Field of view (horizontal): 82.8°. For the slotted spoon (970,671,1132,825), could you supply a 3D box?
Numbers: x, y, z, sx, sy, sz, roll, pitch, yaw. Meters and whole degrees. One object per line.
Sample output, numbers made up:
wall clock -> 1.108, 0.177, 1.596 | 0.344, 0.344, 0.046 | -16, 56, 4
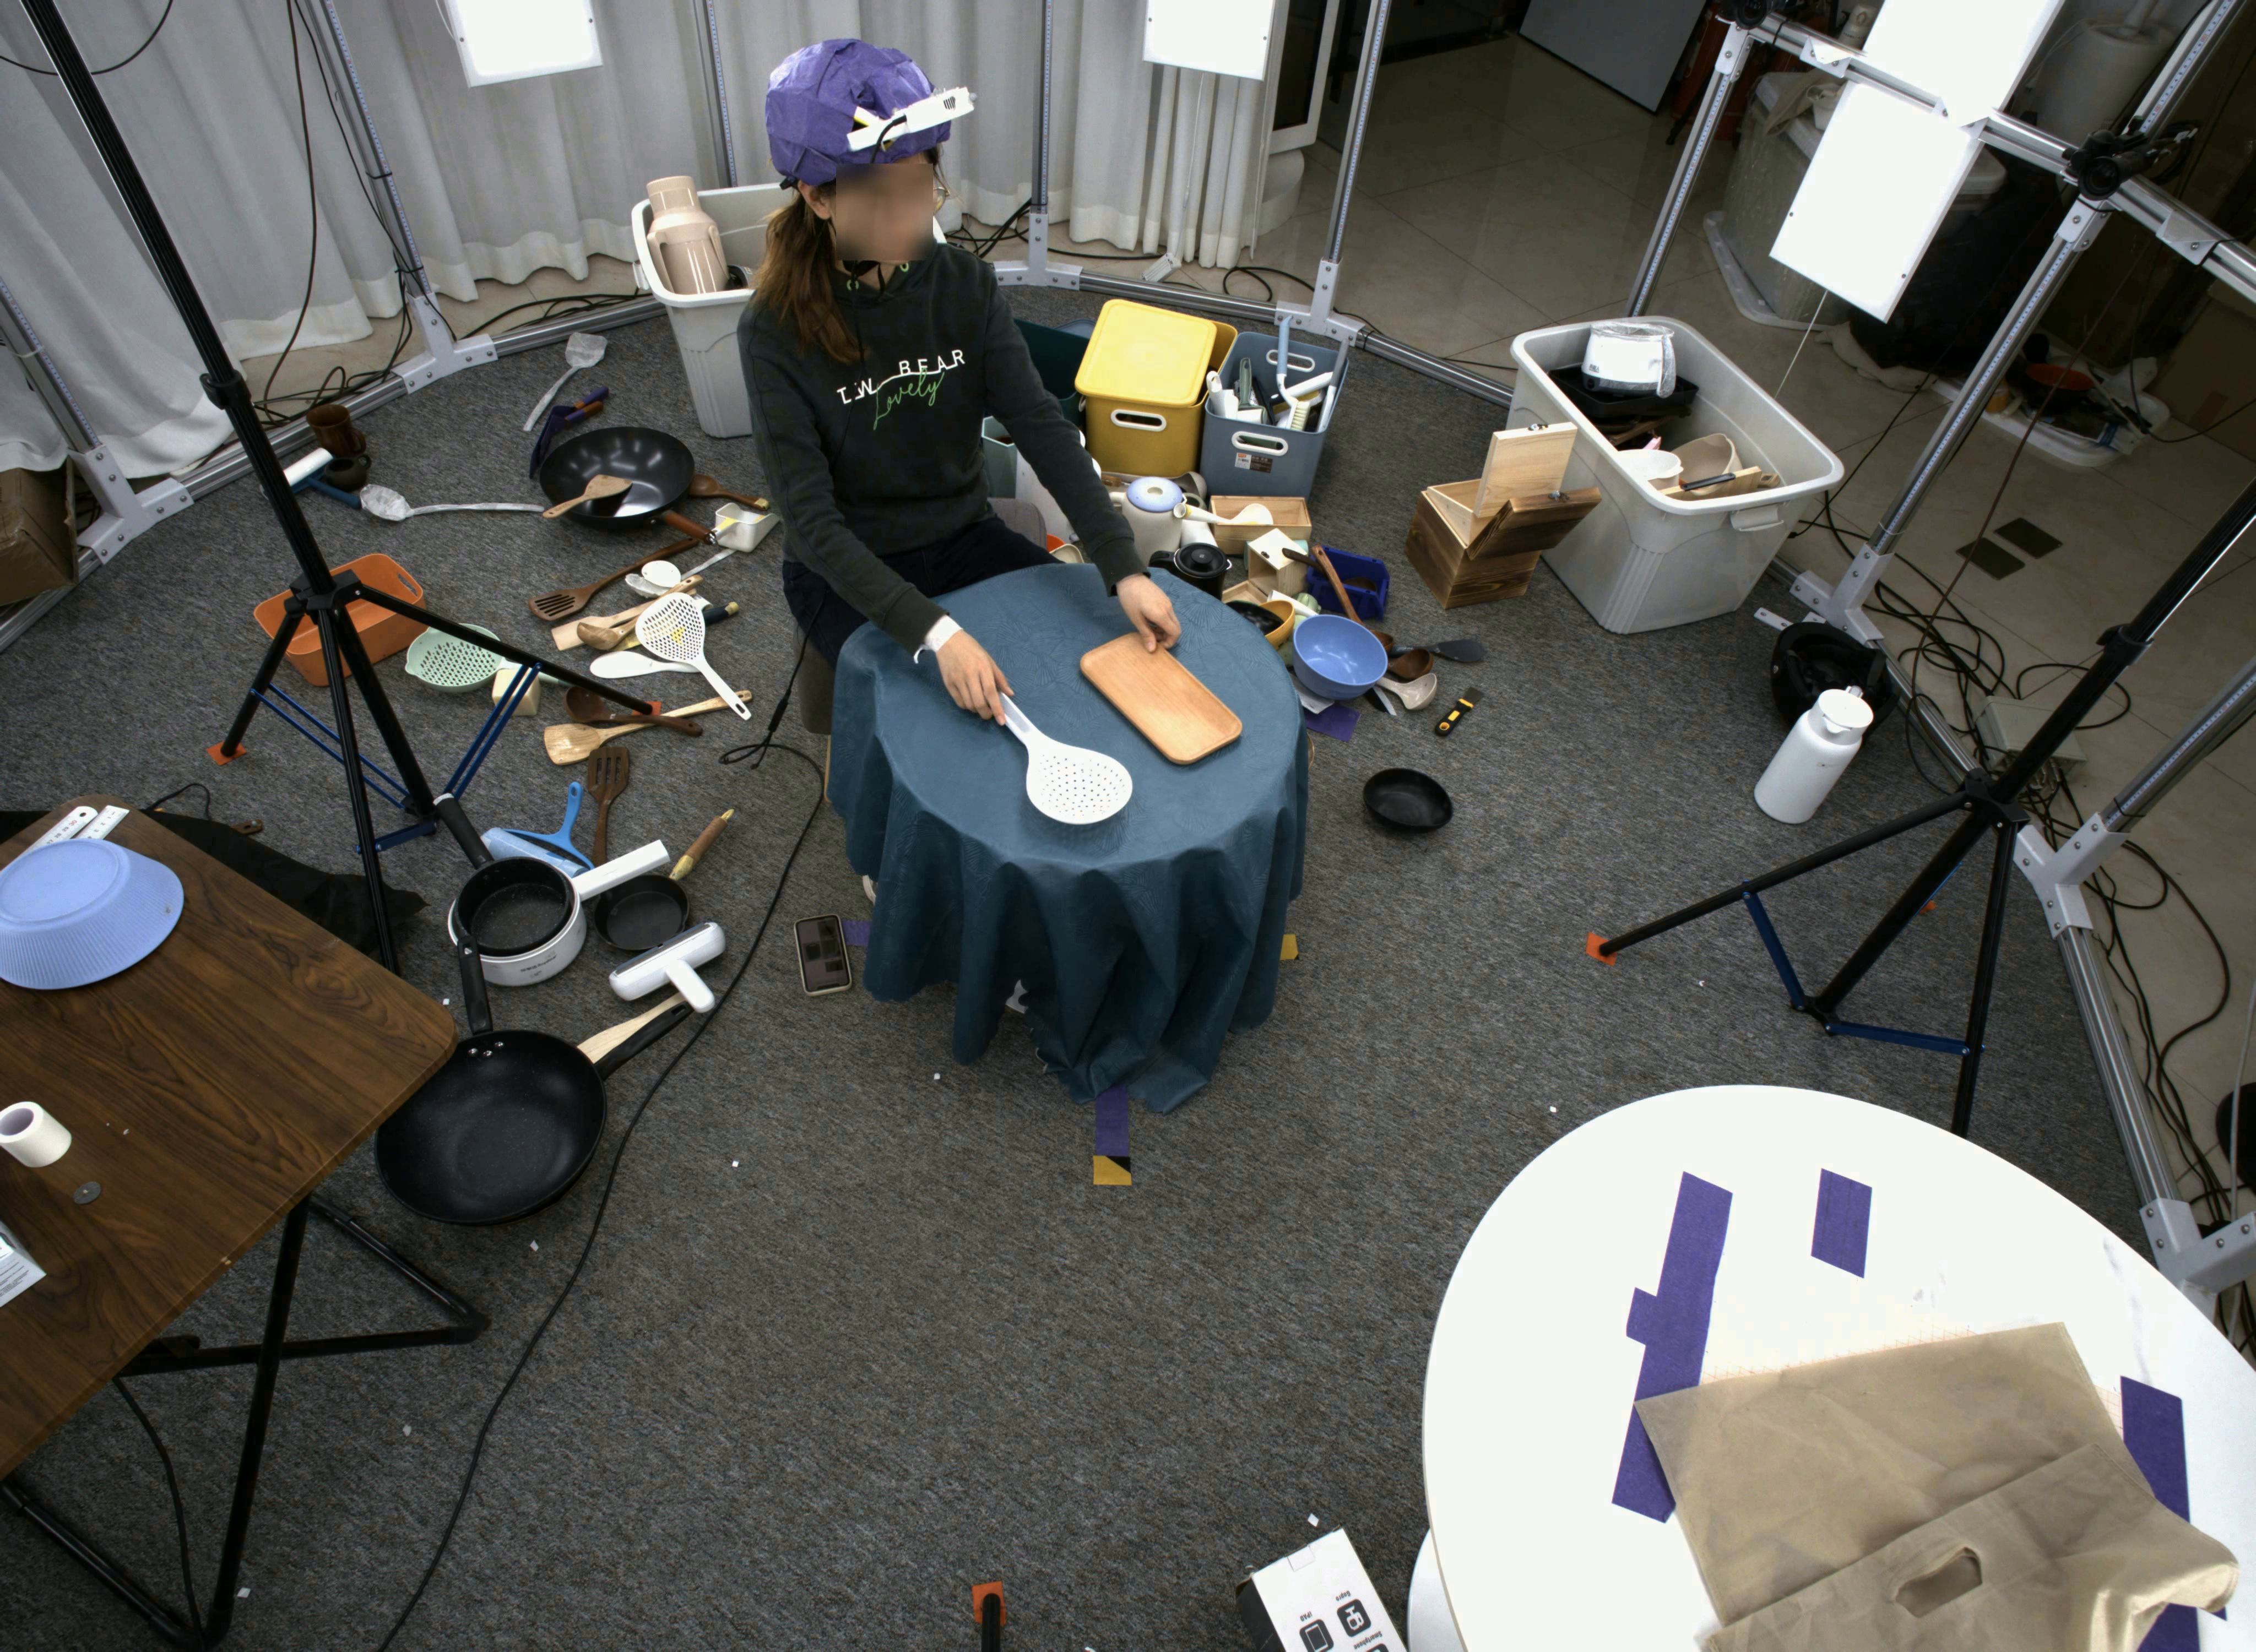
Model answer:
slotted spoon -> -0.123, -0.112, 1.743 | 0.136, 0.044, 0.357 | -22, 53, -25

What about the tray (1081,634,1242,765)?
tray -> 0.045, -0.184, 1.836 | 0.131, 0.022, 0.255 | -26, 54, -26
